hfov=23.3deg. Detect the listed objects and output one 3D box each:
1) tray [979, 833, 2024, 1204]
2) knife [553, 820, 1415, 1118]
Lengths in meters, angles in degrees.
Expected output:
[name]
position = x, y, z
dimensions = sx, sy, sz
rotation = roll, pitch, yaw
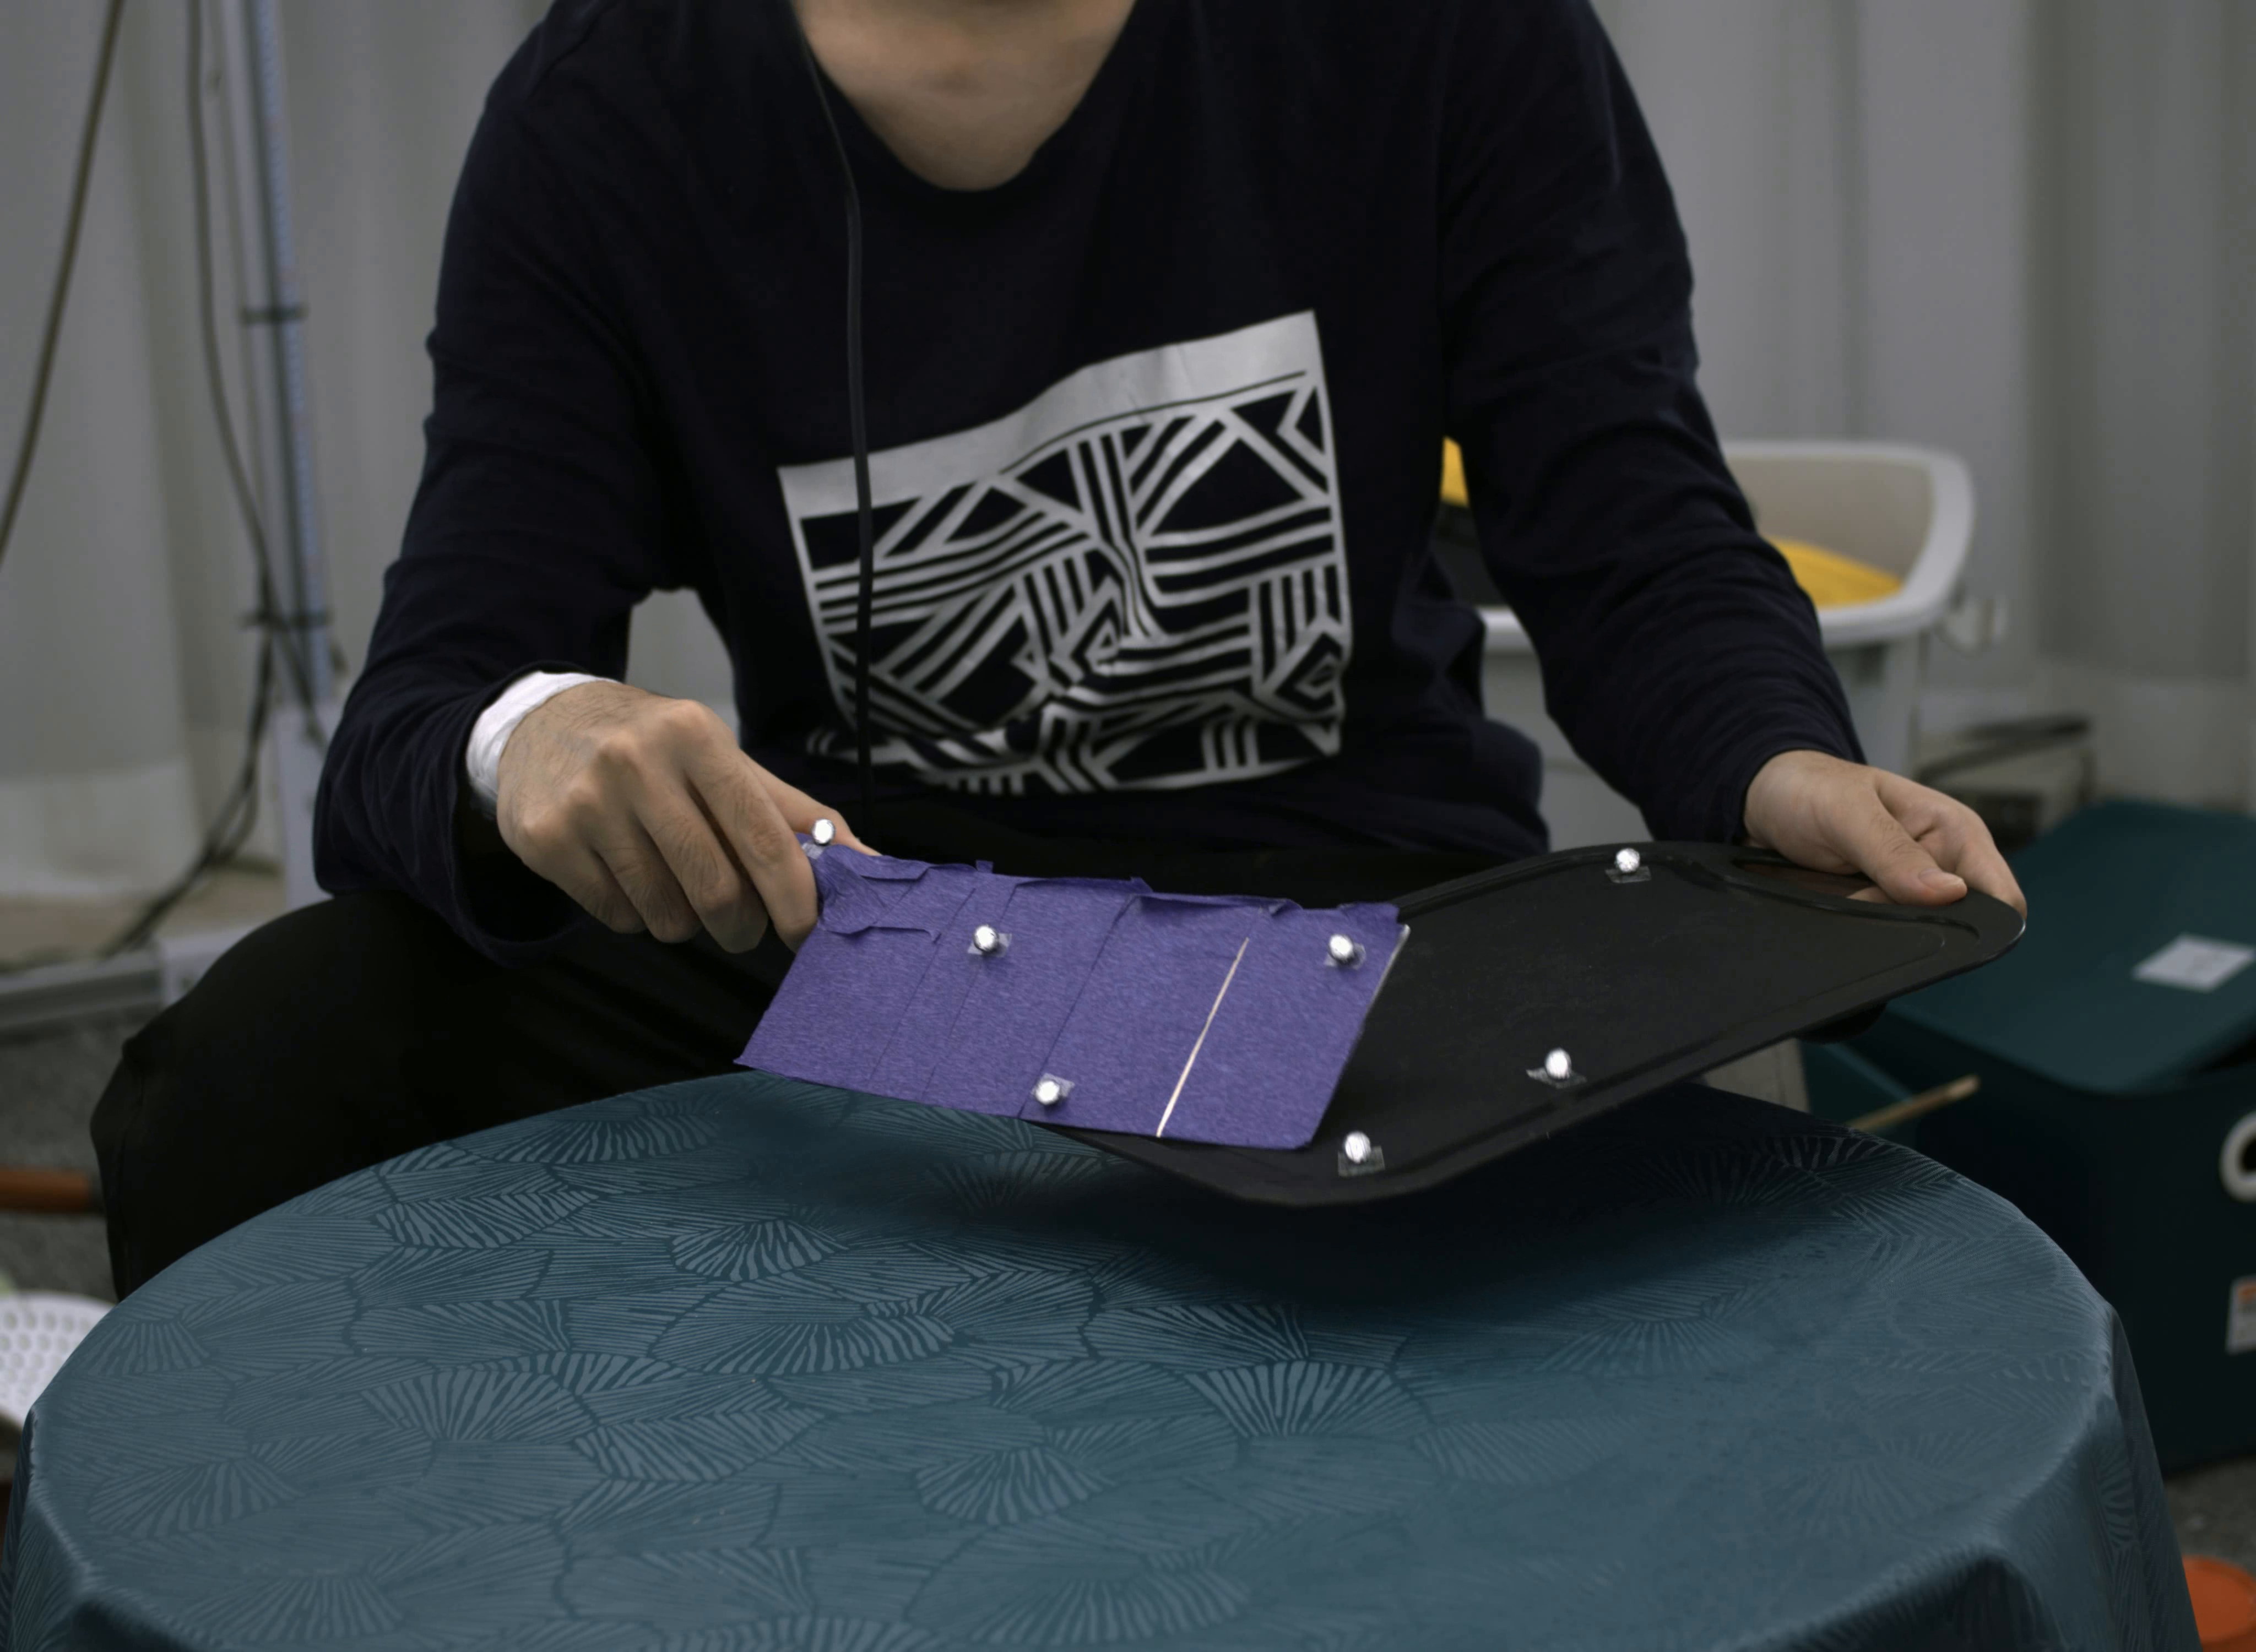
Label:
[tray]
position = 0.123, 0.052, 1.721
dimensions = 0.325, 0.010, 0.212
rotation = -20, 17, -31
[knife]
position = -0.063, 0.044, 1.711
dimensions = 0.316, 0.032, 0.105
rotation = 4, 50, 33
